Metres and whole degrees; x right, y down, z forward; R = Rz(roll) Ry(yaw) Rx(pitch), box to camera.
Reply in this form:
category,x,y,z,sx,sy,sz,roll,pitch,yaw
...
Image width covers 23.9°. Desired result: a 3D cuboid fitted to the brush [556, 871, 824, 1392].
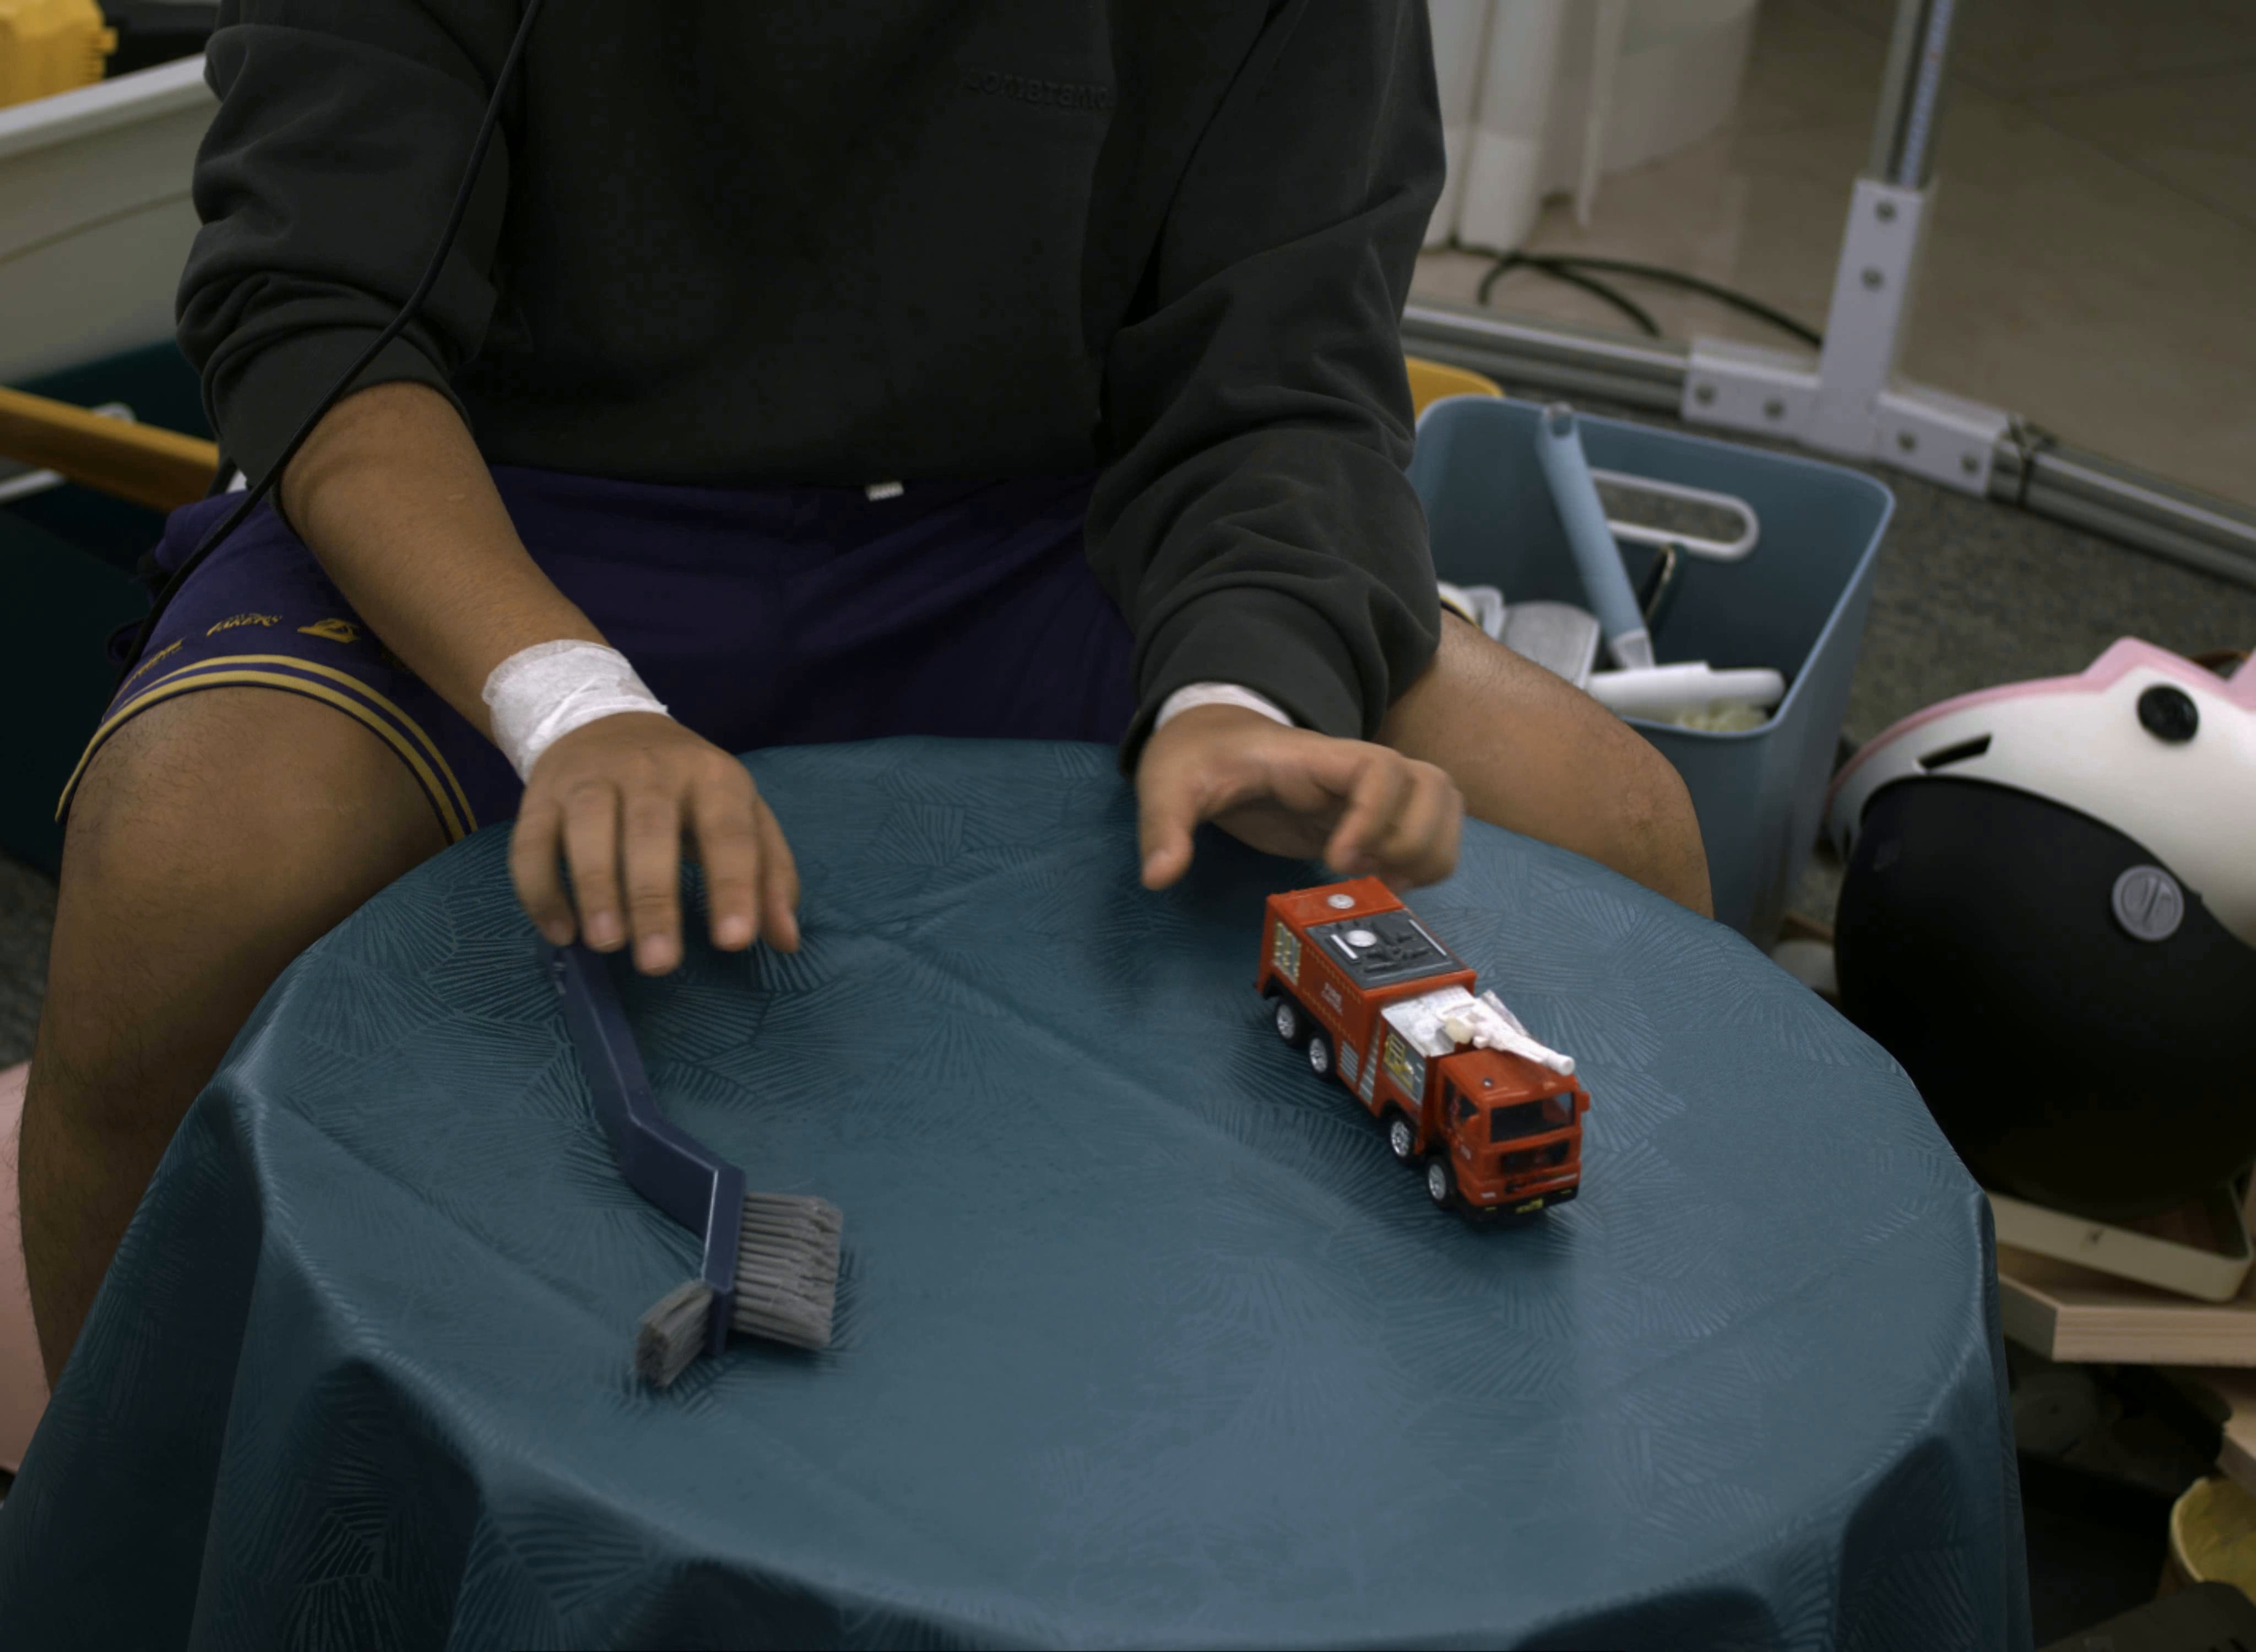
category,x,y,z,sx,sy,sz,roll,pitch,yaw
brush,-0.173,0.097,1.779,0.095,0.033,0.276,-6,31,-25

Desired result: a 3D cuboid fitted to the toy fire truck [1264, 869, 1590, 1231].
category,x,y,z,sx,sy,sz,roll,pitch,yaw
toy fire truck,0.103,0.076,1.851,0.053,0.070,0.169,-10,31,-24
